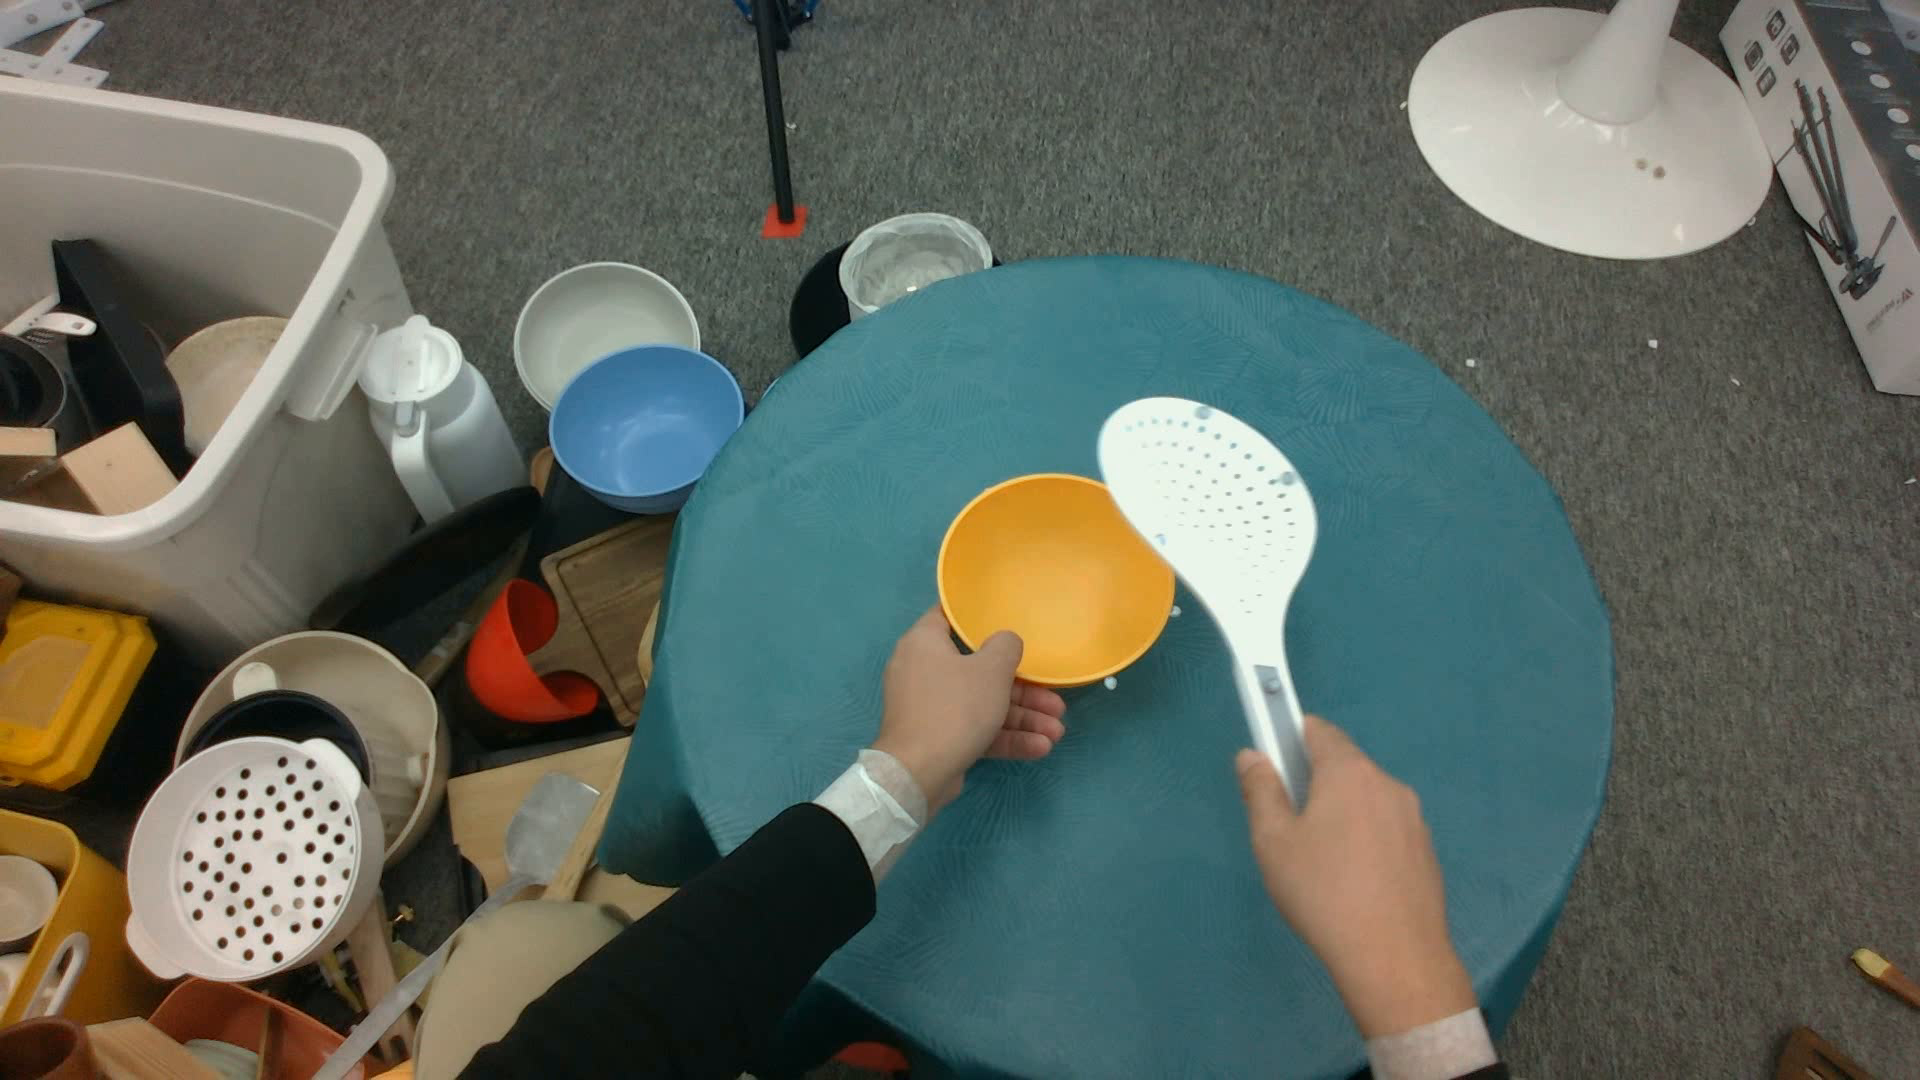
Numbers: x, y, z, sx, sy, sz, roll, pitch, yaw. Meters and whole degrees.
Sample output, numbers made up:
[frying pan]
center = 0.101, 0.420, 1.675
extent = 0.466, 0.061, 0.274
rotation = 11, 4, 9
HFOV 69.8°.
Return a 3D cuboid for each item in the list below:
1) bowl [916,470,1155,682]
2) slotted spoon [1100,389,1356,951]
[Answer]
[bowl]
center = 0.045, 0.031, 0.851
extent = 0.145, 0.060, 0.146
rotation = 1, 58, -1
[slotted spoon]
center = 0.152, 0.051, 0.741
extent = 0.136, 0.045, 0.351
rotation = 9, 44, -20
